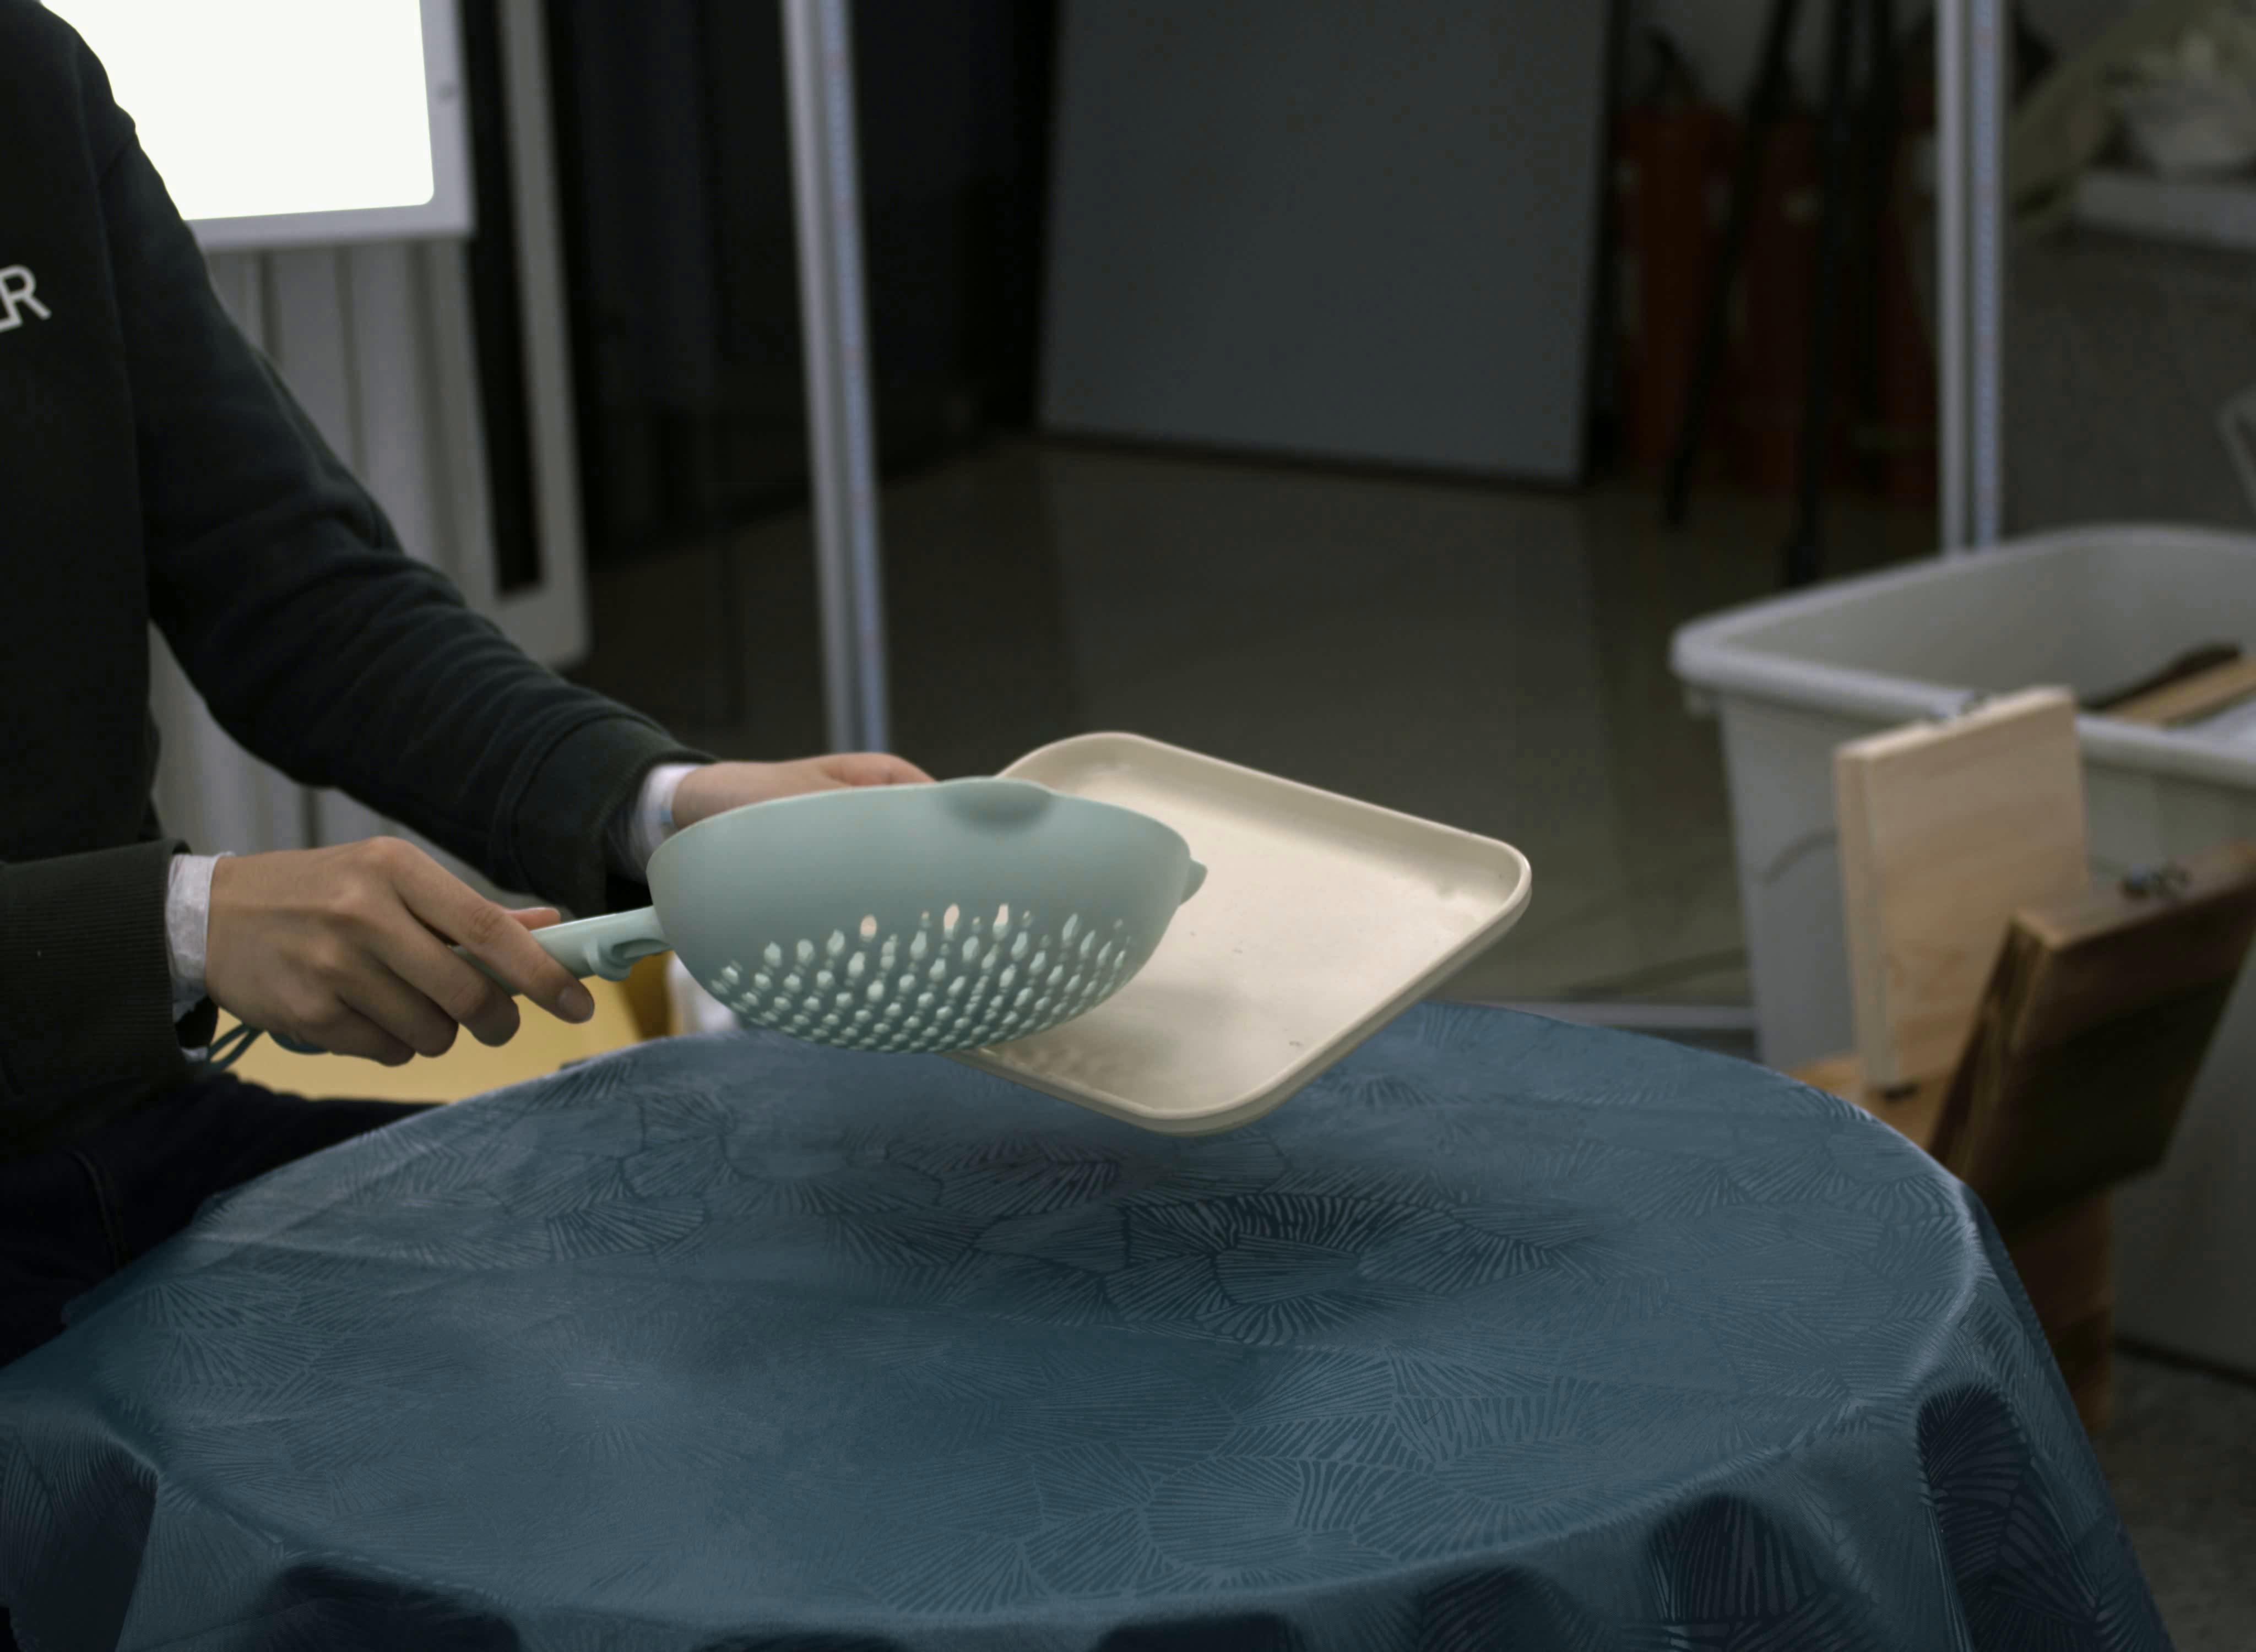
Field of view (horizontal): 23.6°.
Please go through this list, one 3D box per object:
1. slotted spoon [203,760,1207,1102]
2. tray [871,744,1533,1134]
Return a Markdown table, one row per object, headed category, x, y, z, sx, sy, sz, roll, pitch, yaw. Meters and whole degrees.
| category | x | y | z | sx | sy | sz | roll | pitch | yaw |
| --- | --- | --- | --- | --- | --- | --- | --- | --- | --- |
| slotted spoon | -0.148 | 0.042 | 1.719 | 0.360 | 0.076 | 0.166 | -5 | -18 | 30 |
| tray | 0.007 | 0.035 | 1.762 | 0.169 | 0.017 | 0.242 | -35 | 31 | -30 |
